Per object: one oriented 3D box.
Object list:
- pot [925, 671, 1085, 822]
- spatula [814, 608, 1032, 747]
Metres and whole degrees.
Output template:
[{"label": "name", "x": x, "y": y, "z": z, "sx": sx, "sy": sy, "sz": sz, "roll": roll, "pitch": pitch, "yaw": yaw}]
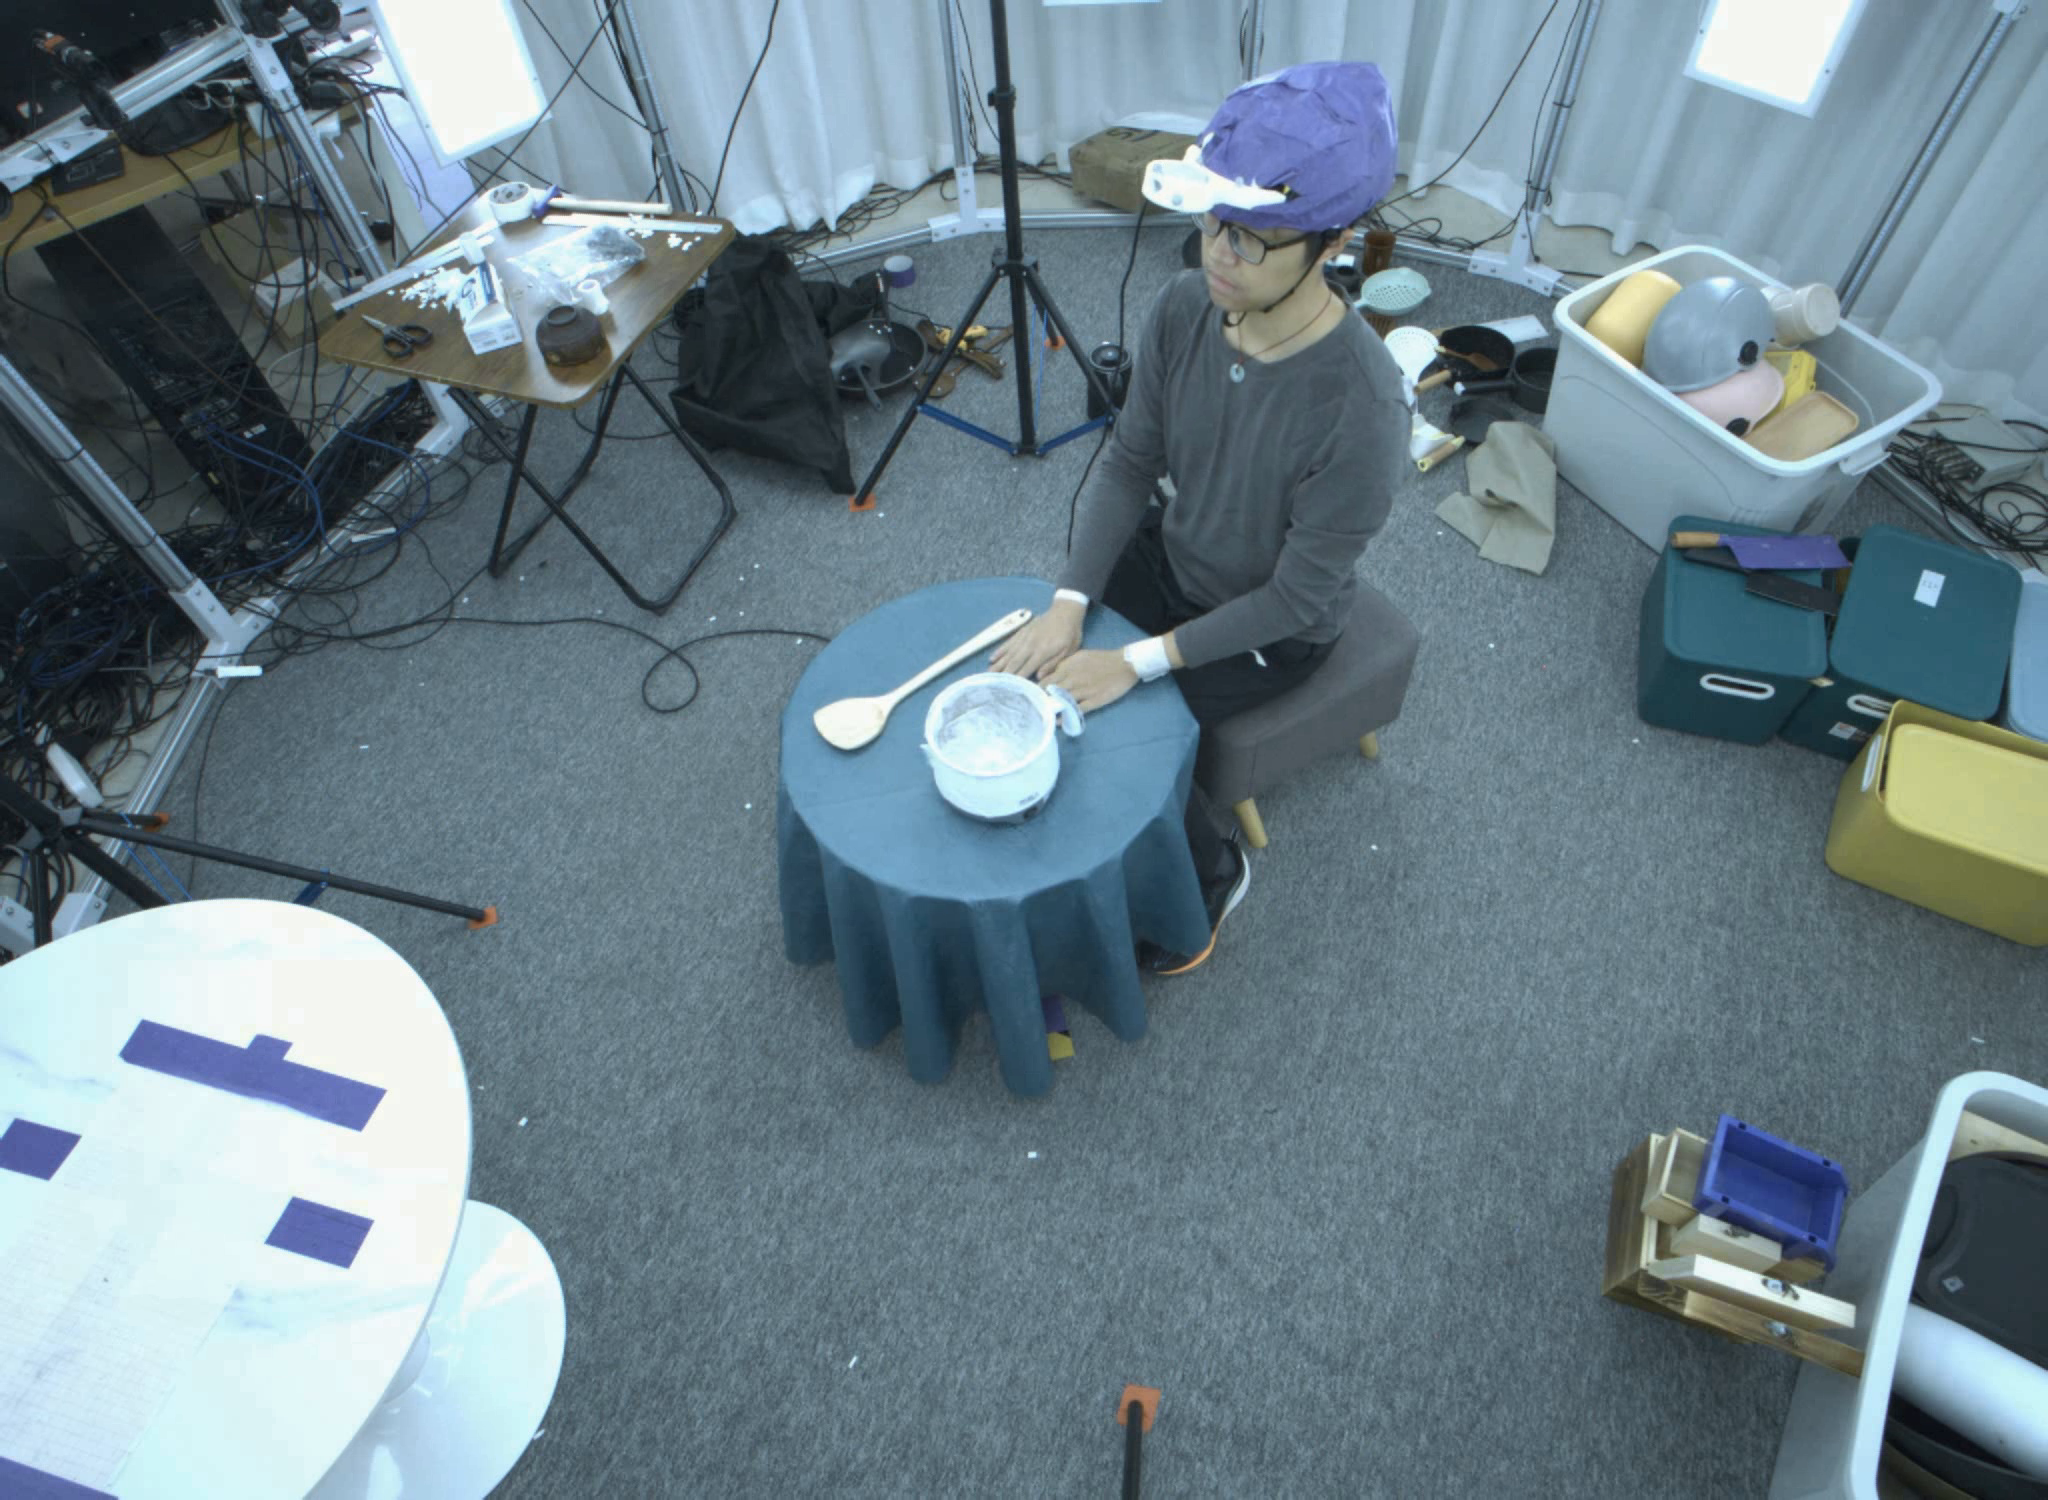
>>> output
[{"label": "pot", "x": -0.019, "y": -0.014, "z": 1.719, "sx": 0.235, "sy": 0.138, "sz": 0.175, "roll": -30, "pitch": 59, "yaw": -18}, {"label": "spatula", "x": -0.145, "y": -0.123, "z": 1.876, "sx": 0.394, "sy": 0.018, "sz": 0.094, "roll": -34, "pitch": 62, "yaw": -21}]
